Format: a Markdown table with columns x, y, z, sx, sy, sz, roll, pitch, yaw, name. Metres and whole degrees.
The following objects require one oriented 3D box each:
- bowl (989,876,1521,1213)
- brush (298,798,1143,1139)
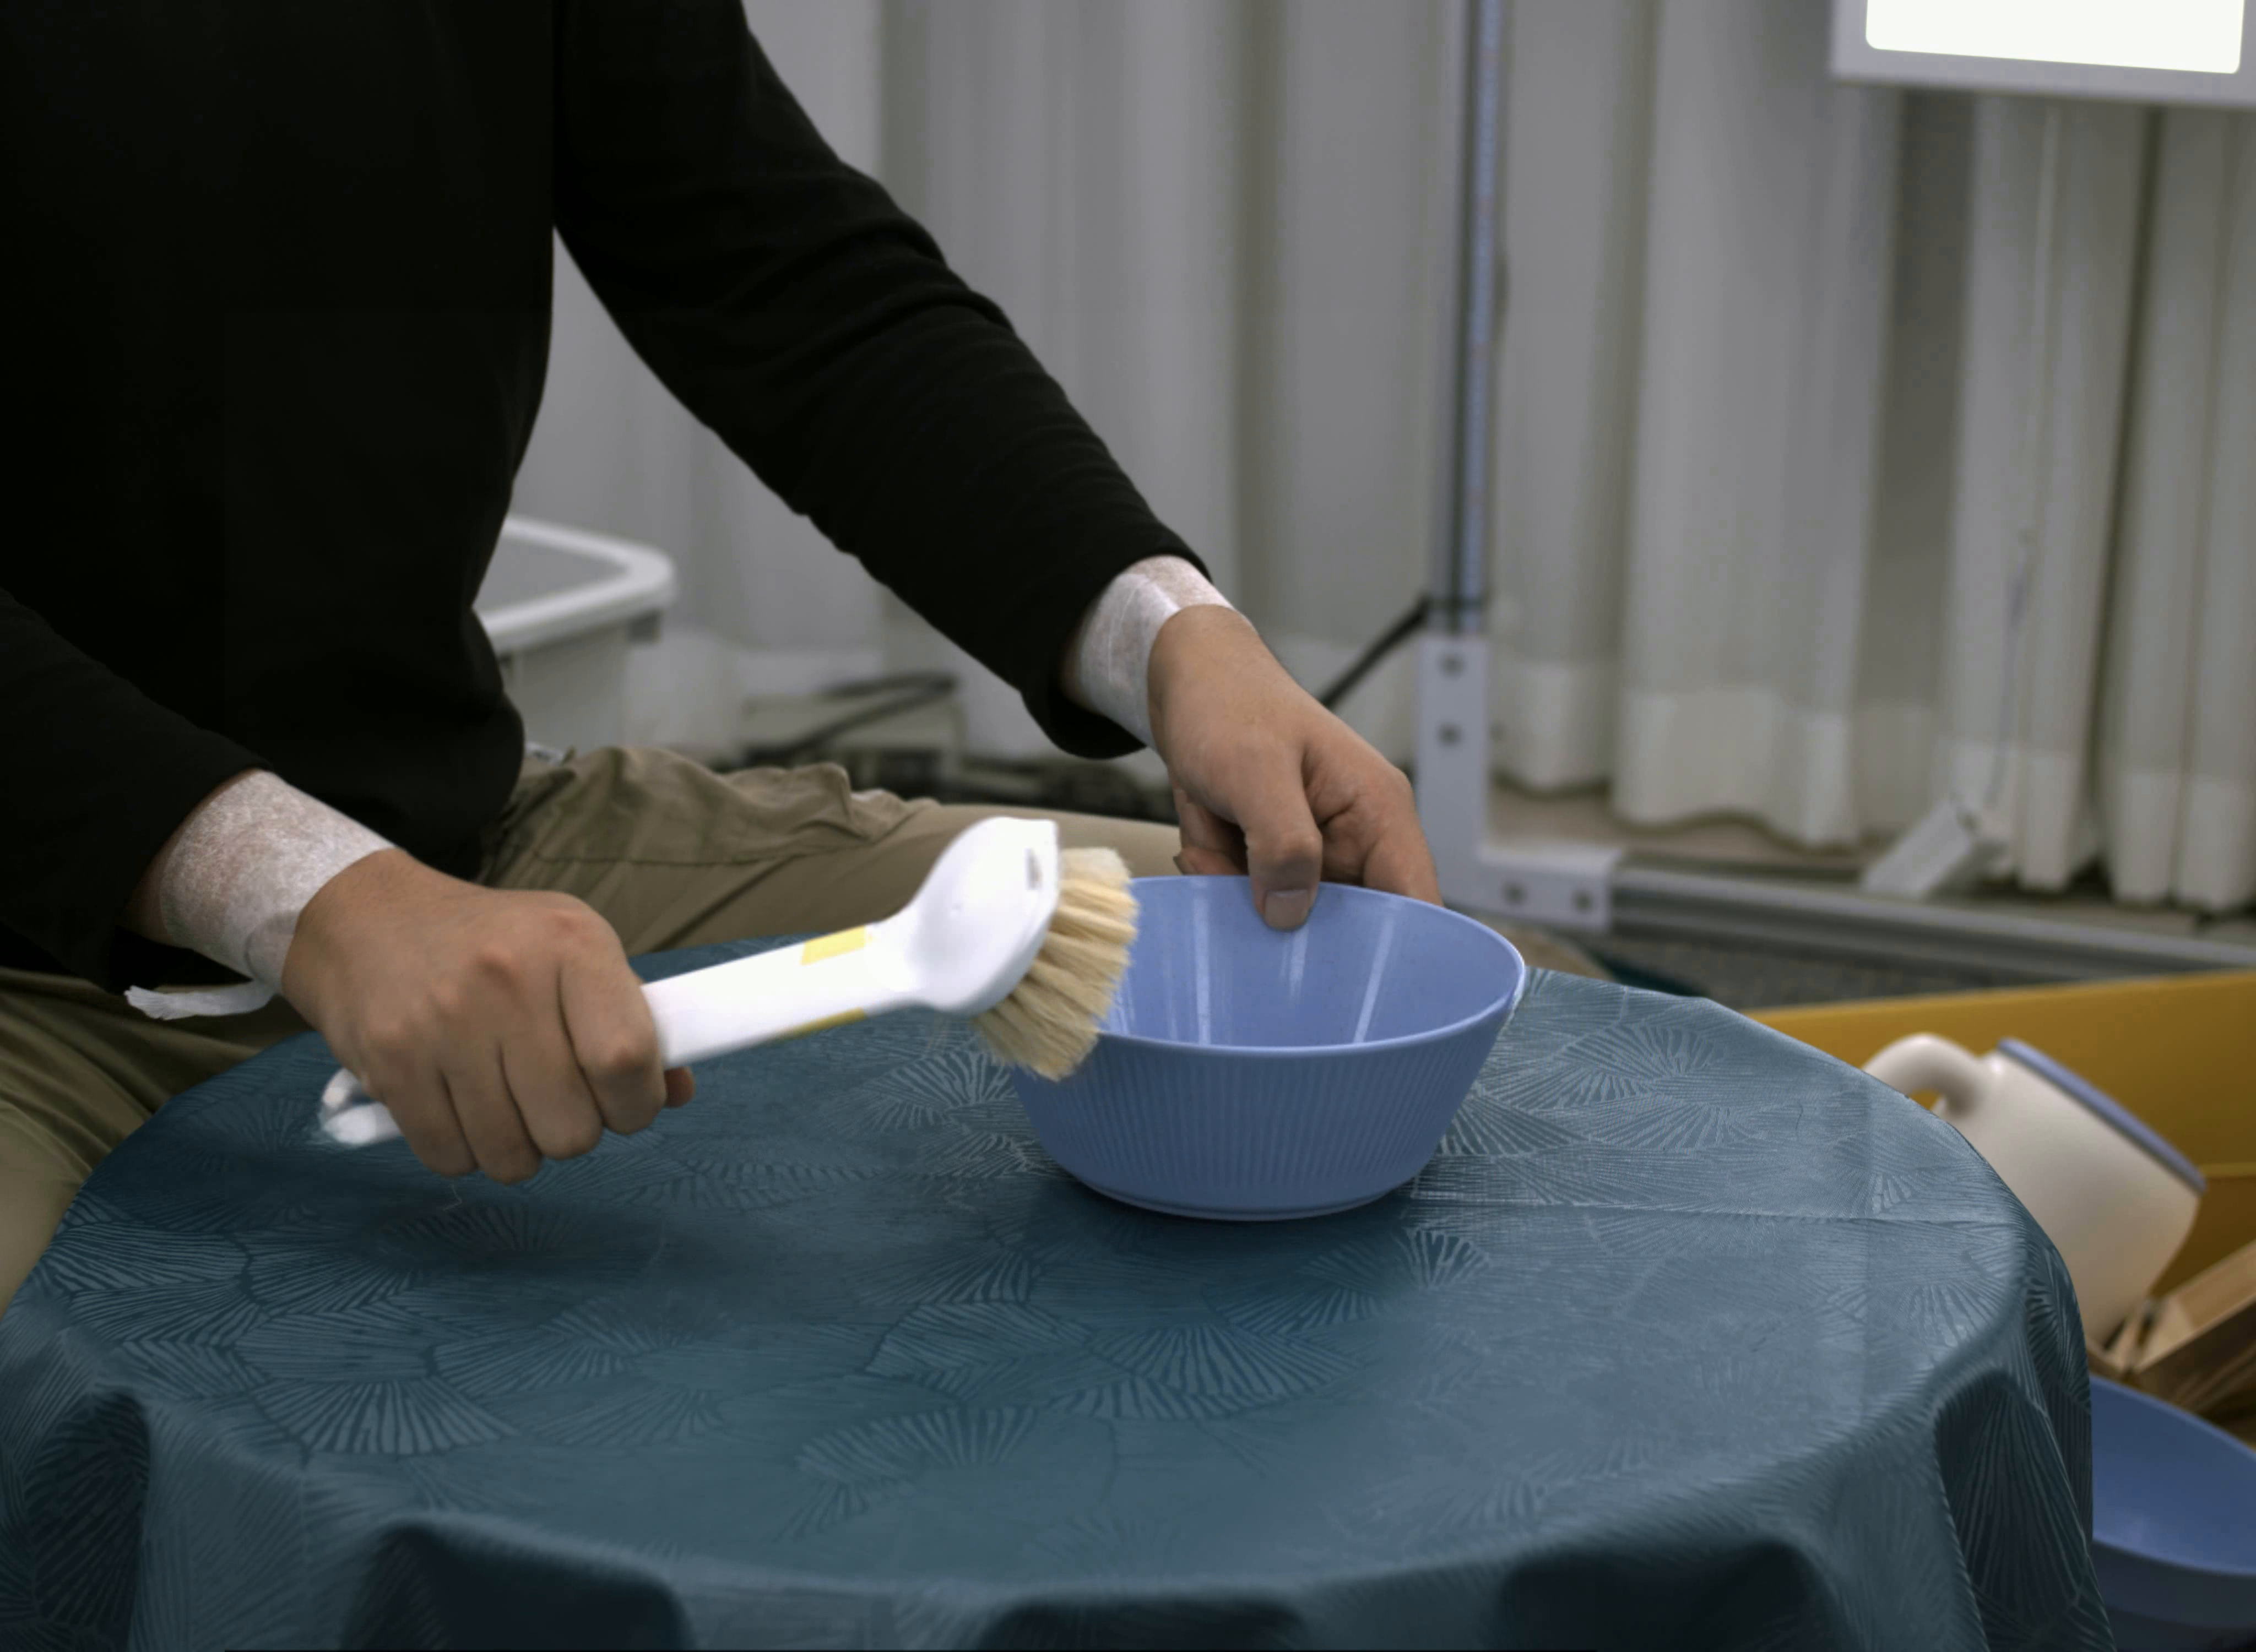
| x | y | z | sx | sy | sz | roll | pitch | yaw | name |
| --- | --- | --- | --- | --- | --- | --- | --- | --- | --- |
| 0.032 | 0.070 | 1.633 | 0.175 | 0.071 | 0.175 | 3 | 16 | 0 | bowl |
| -0.117 | 0.056 | 1.537 | 0.265 | 0.057 | 0.068 | -19 | 44 | 19 | brush |
